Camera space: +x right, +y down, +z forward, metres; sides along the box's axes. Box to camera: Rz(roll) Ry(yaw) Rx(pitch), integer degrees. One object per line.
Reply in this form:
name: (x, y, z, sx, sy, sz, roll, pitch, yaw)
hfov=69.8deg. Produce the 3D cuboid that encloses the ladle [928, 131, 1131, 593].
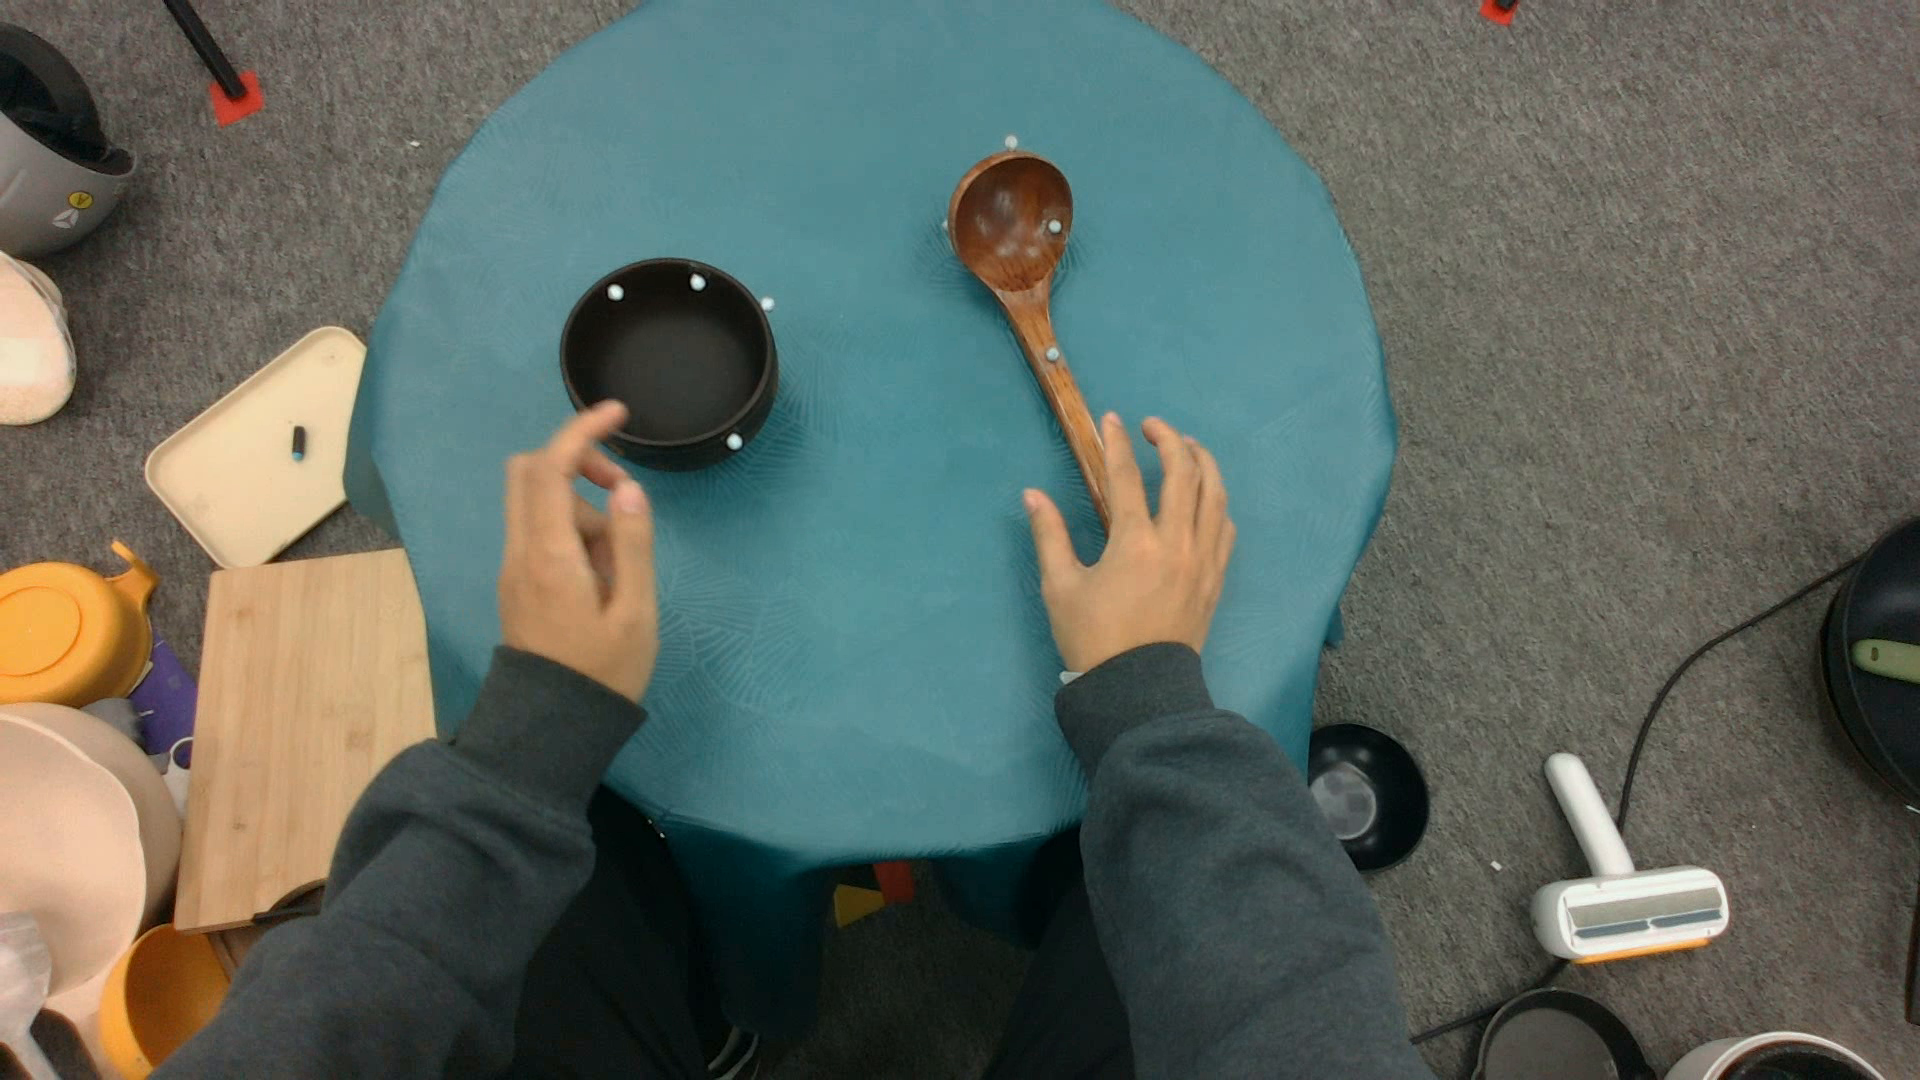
ladle: (0.053, -0.108, 0.788, 0.082, 0.076, 0.274, -14, 71, -17)

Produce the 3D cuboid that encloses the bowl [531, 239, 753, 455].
bowl: (-0.174, -0.101, 0.769, 0.118, 0.069, 0.118, 2, 70, -5)
